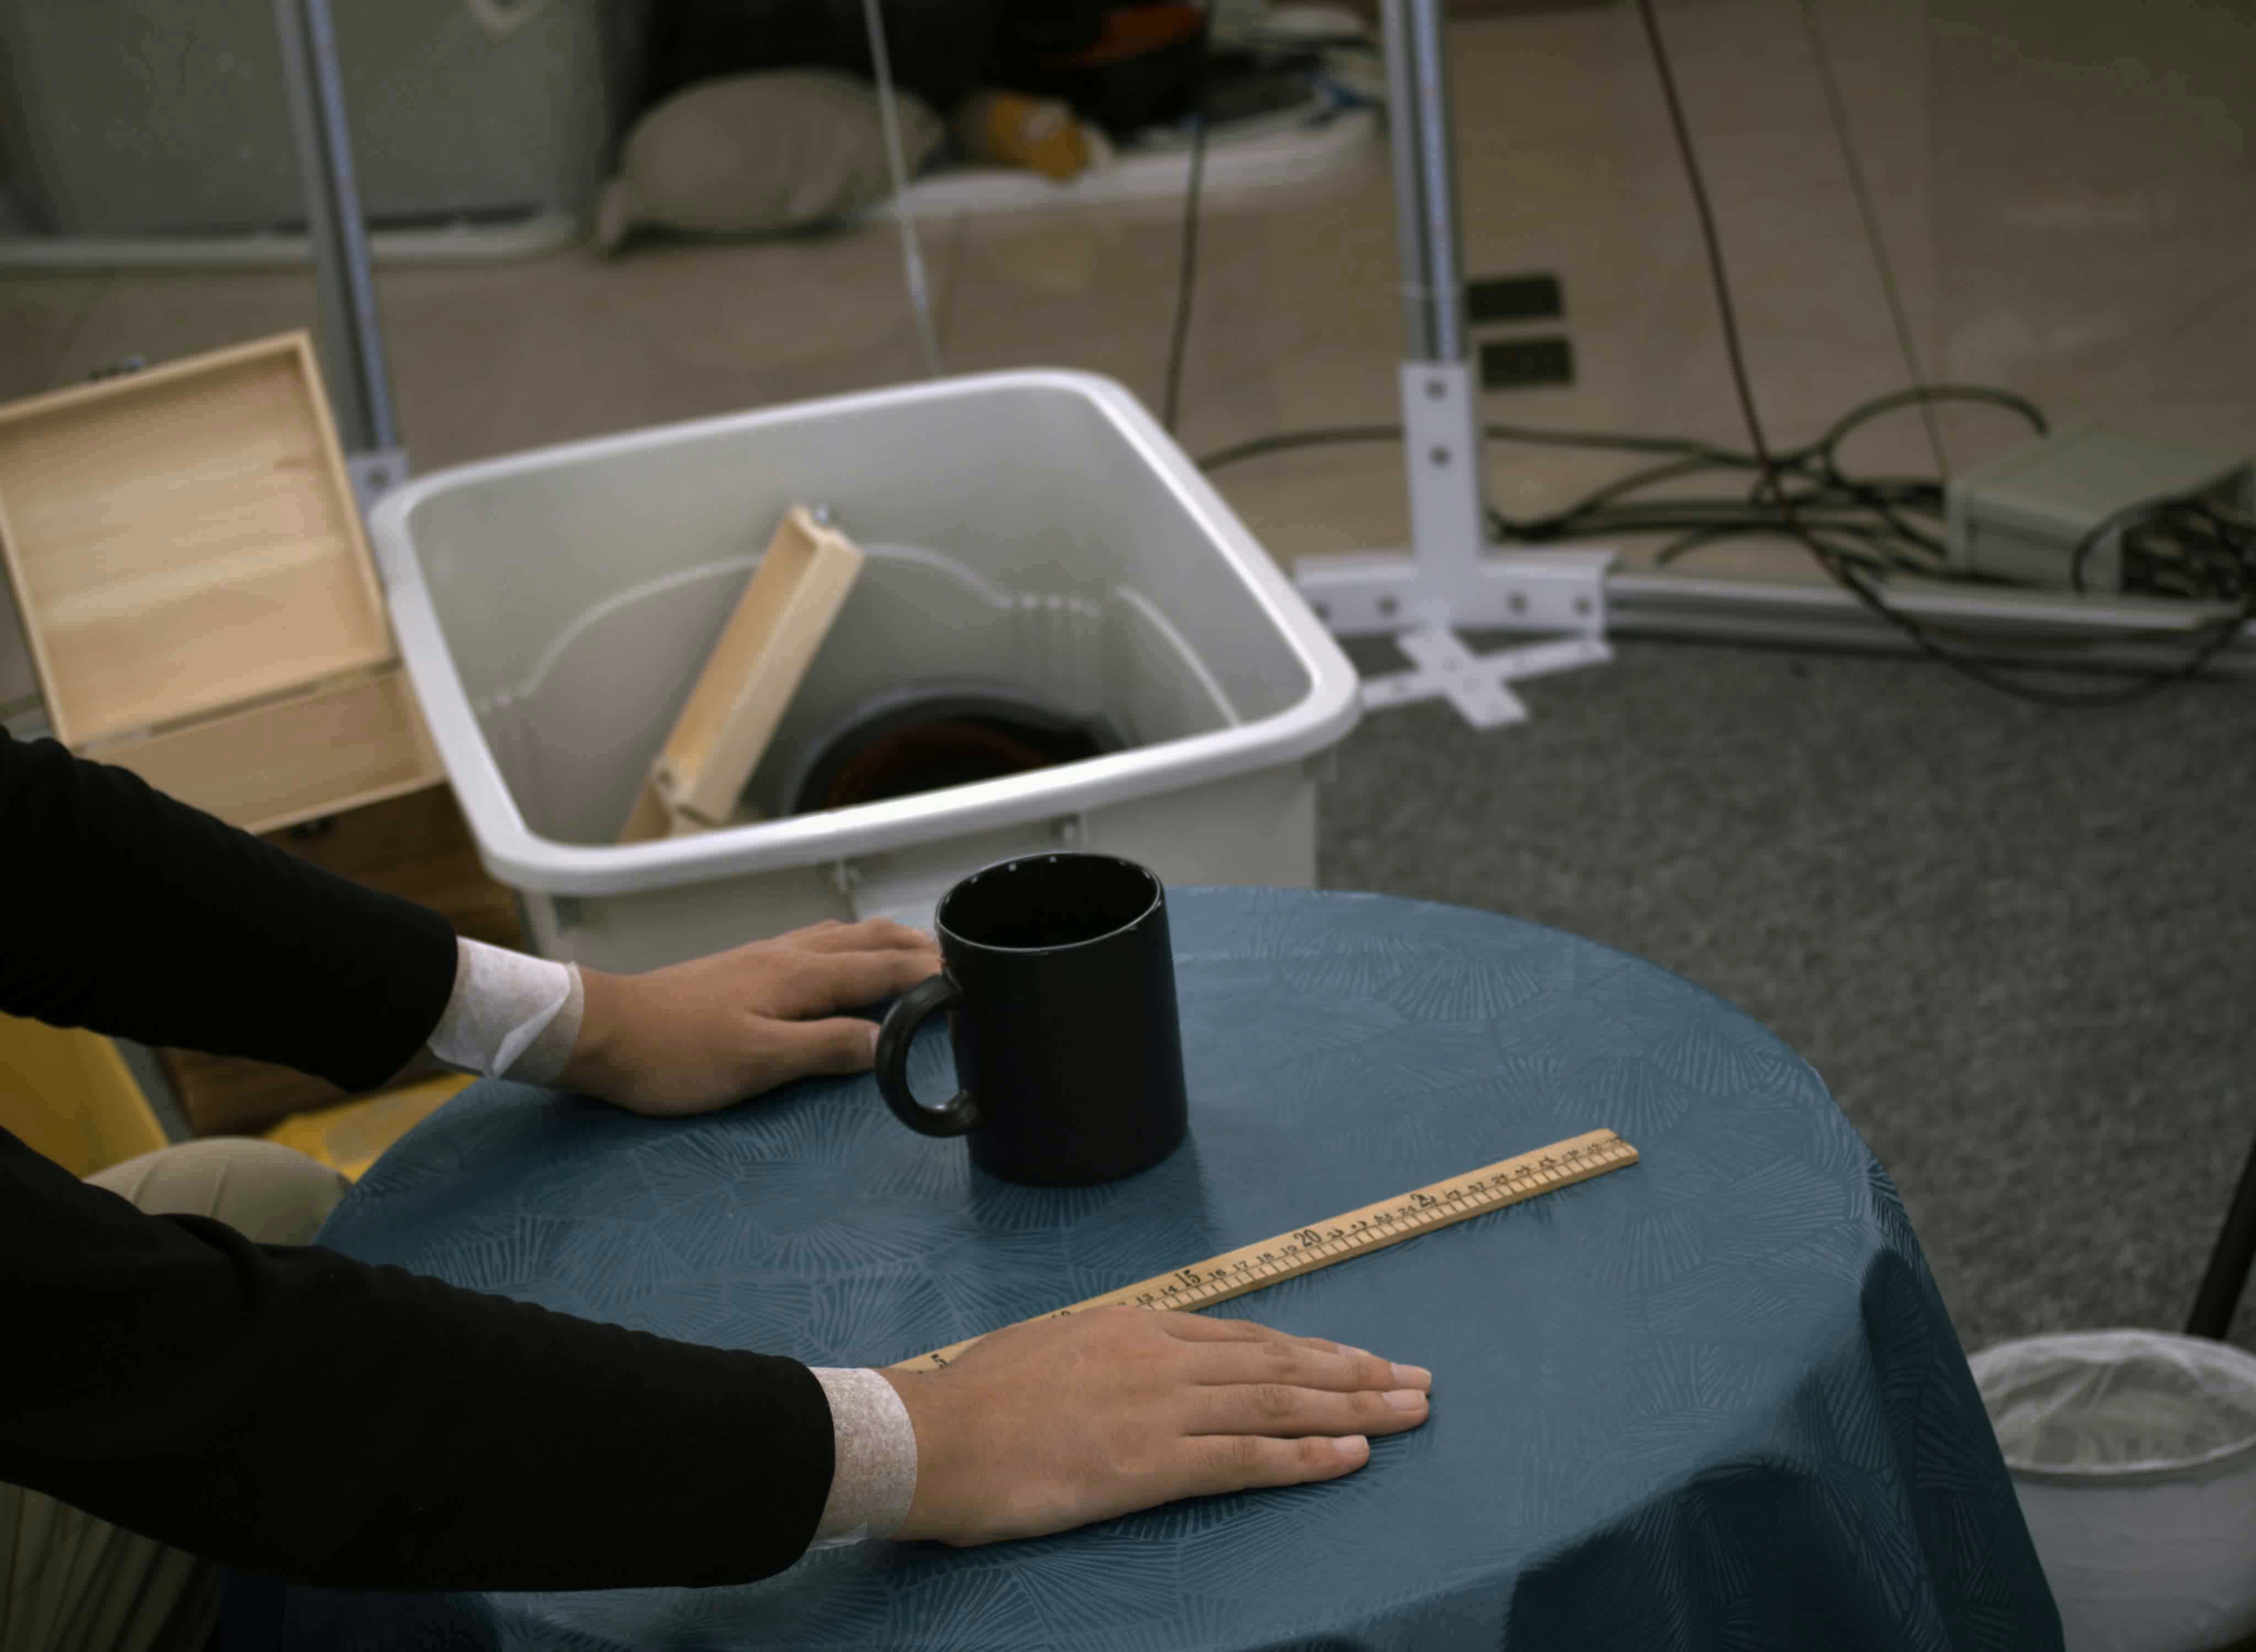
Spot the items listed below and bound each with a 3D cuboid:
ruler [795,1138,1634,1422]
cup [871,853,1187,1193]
[{"bbox_3d":[0.035,0.162,2.078,0.330,0.022,0.027,-15,22,-19],"label":"ruler"},{"bbox_3d":[-0.040,0.080,2.164,0.123,0.107,0.087,-18,30,-21],"label":"cup"}]
